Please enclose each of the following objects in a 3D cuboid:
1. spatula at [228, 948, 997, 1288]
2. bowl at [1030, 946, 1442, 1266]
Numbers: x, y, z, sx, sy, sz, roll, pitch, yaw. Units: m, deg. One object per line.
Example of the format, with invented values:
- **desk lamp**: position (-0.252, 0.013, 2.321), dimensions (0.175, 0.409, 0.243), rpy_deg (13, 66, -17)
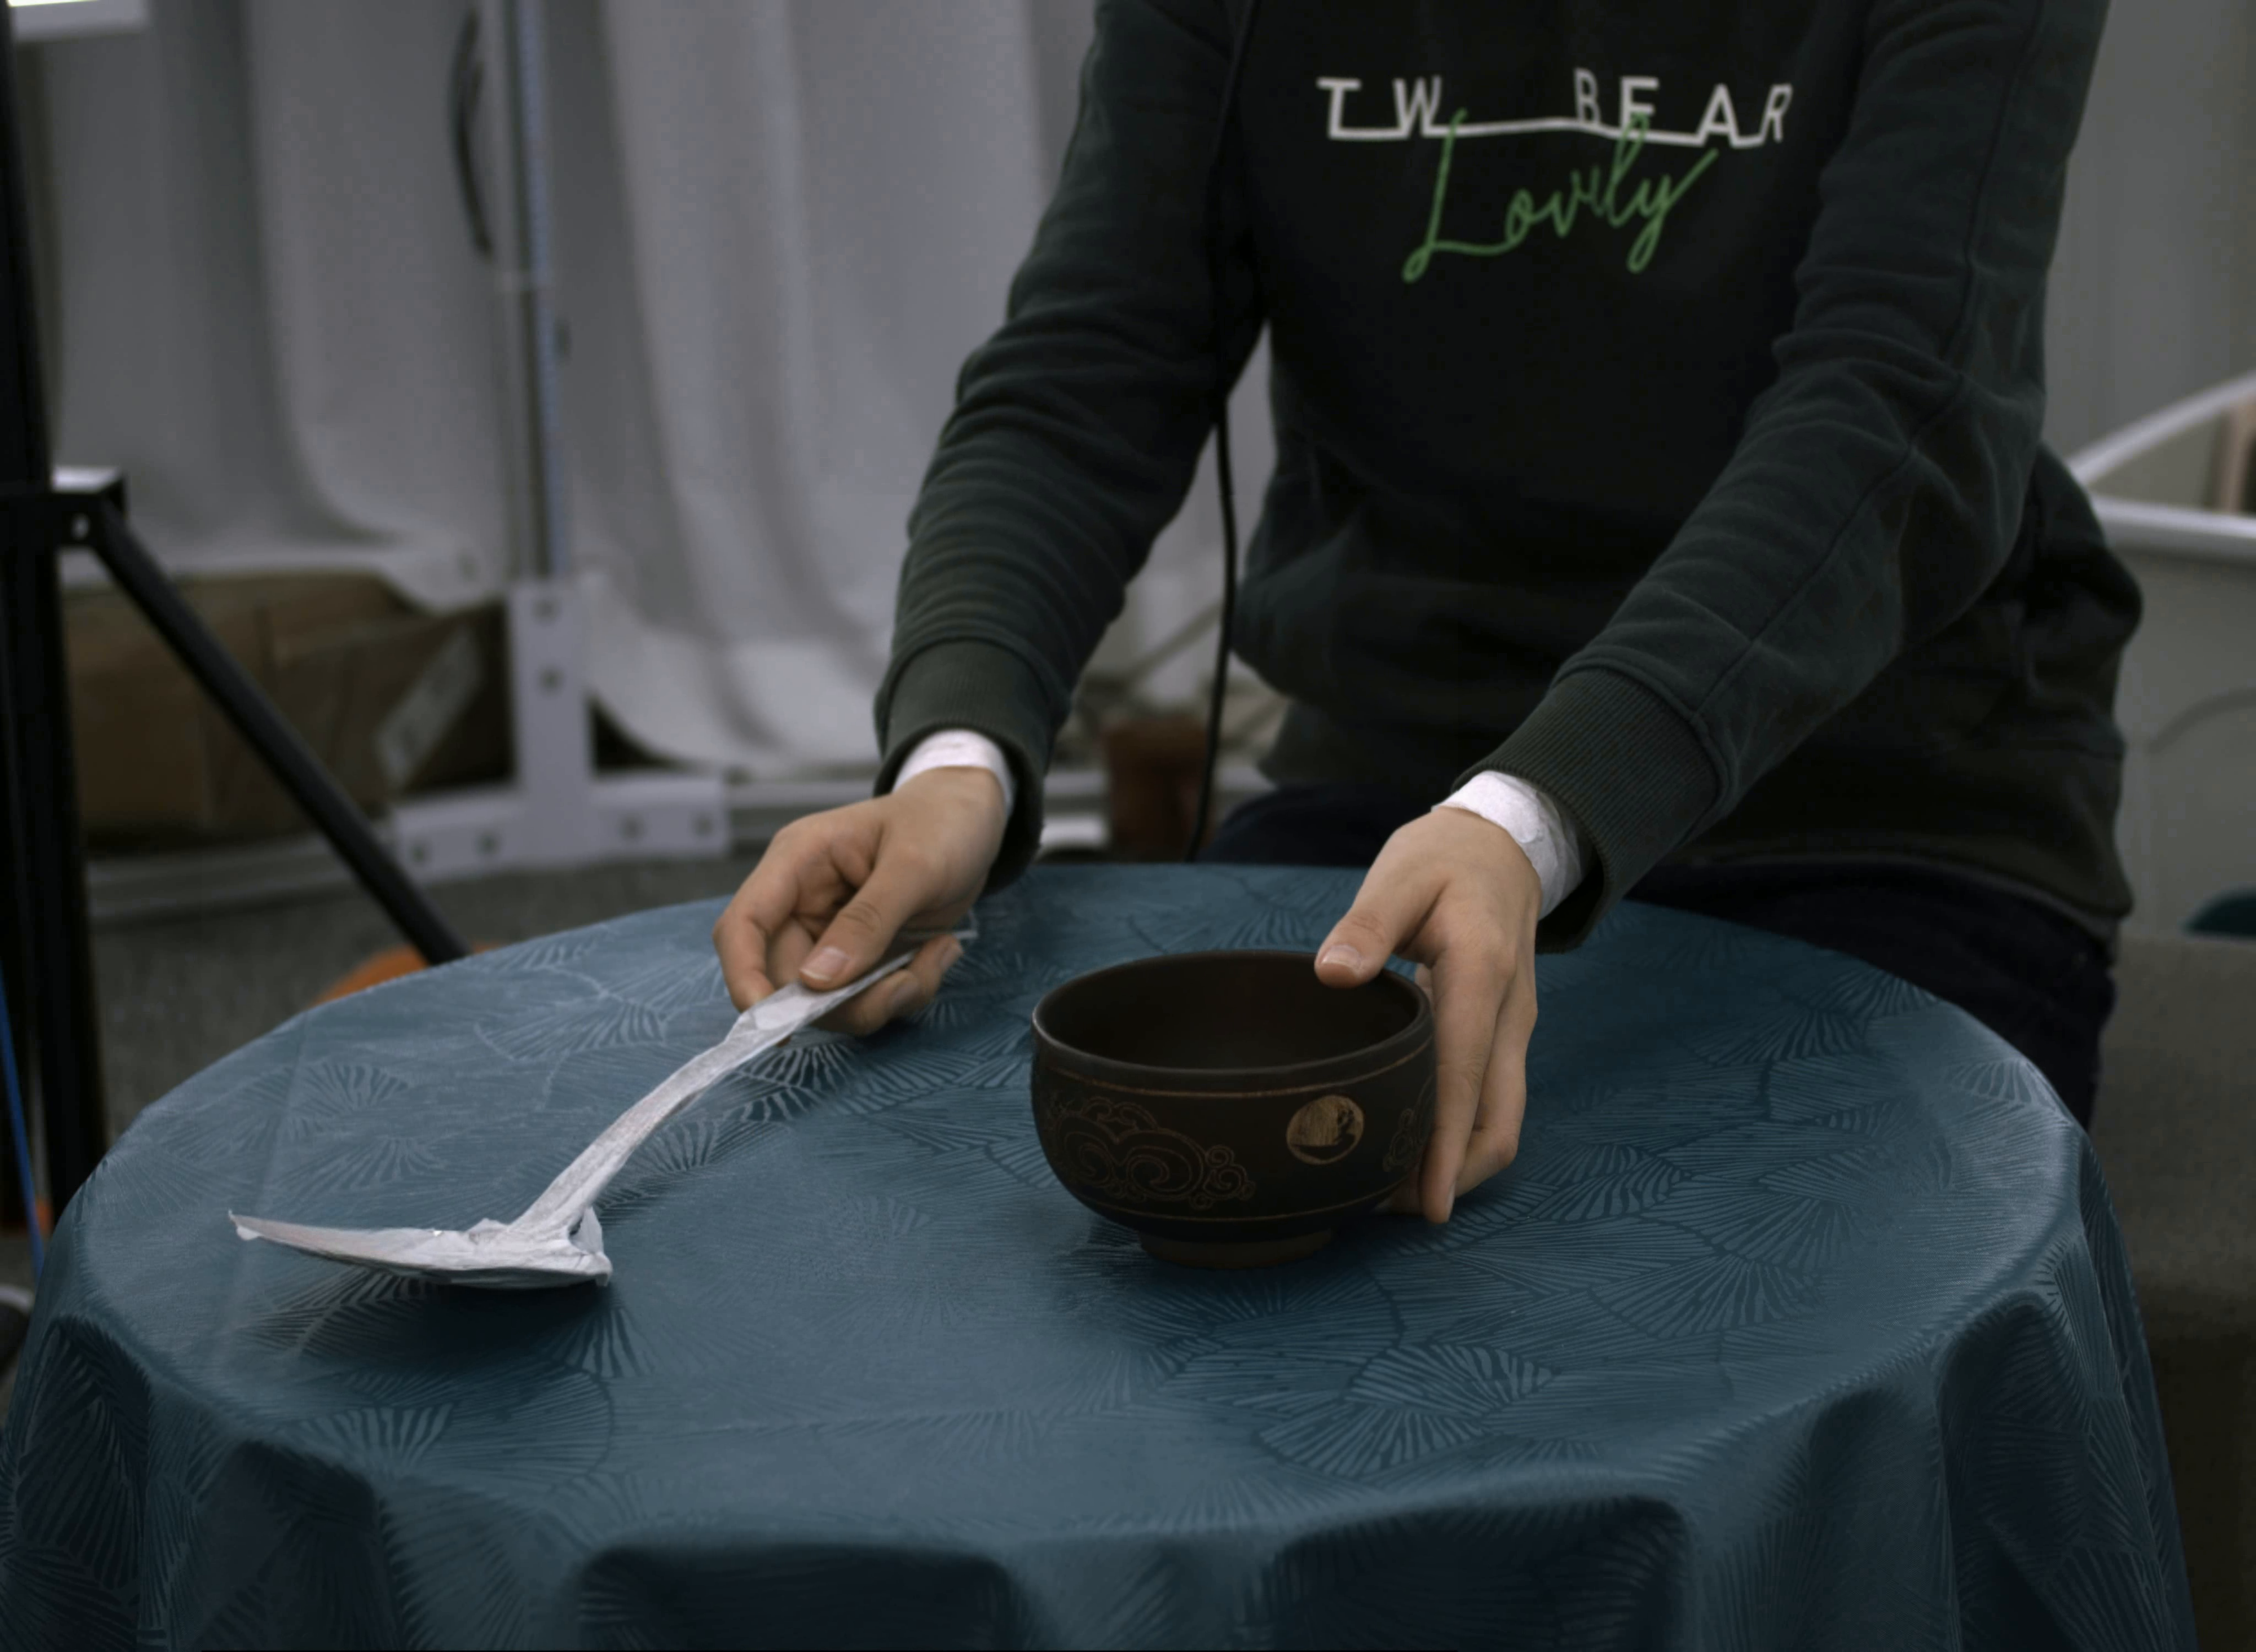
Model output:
- **spatula**: position (-0.133, 0.078, 1.598), dimensions (0.100, 0.045, 0.359), rpy_deg (4, 20, 26)
- **bowl**: position (0.031, 0.083, 1.509), dimensions (0.117, 0.070, 0.118), rpy_deg (-1, 16, -1)
